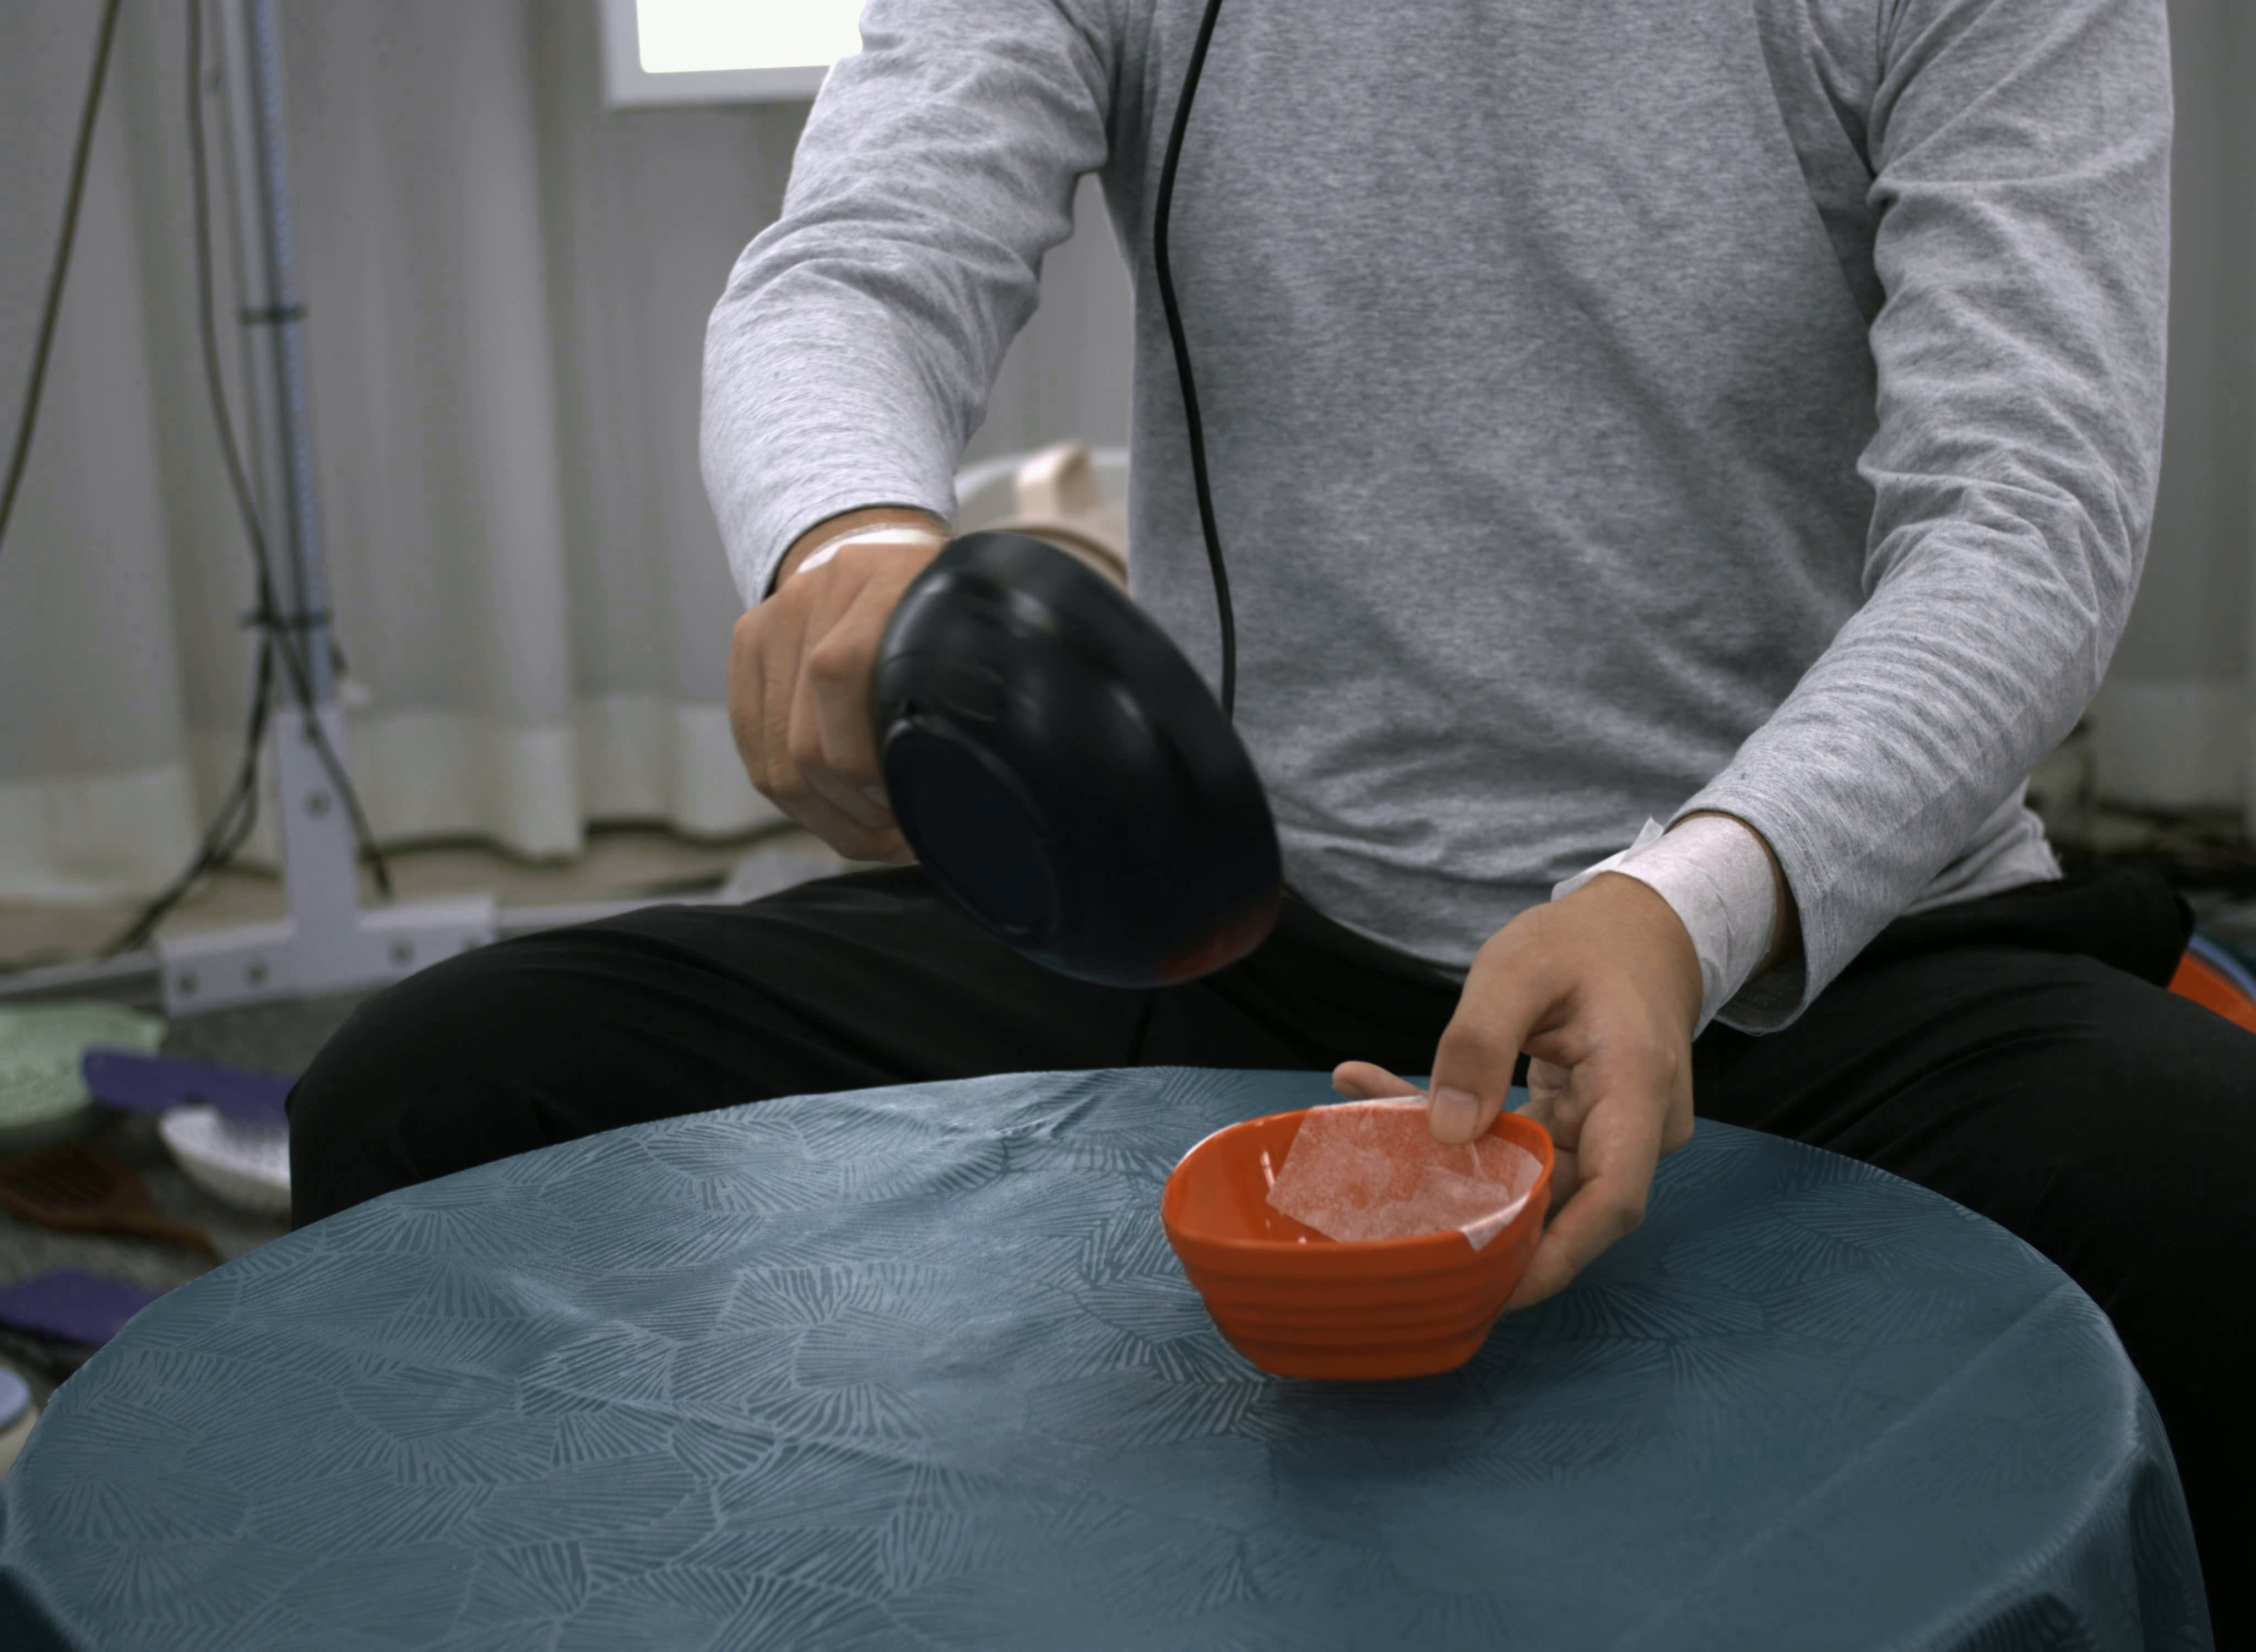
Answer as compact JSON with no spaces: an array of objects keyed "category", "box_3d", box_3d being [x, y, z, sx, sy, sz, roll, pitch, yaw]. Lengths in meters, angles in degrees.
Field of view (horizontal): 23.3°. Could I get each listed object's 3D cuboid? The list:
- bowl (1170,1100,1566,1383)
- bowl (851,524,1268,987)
[{"category":"bowl","box_3d":[0.070,0.120,1.540,0.118,0.051,0.120,-7,17,2]},{"category":"bowl","box_3d":[-0.029,-0.009,1.470,0.050,0.138,0.141,-37,32,-31]}]
